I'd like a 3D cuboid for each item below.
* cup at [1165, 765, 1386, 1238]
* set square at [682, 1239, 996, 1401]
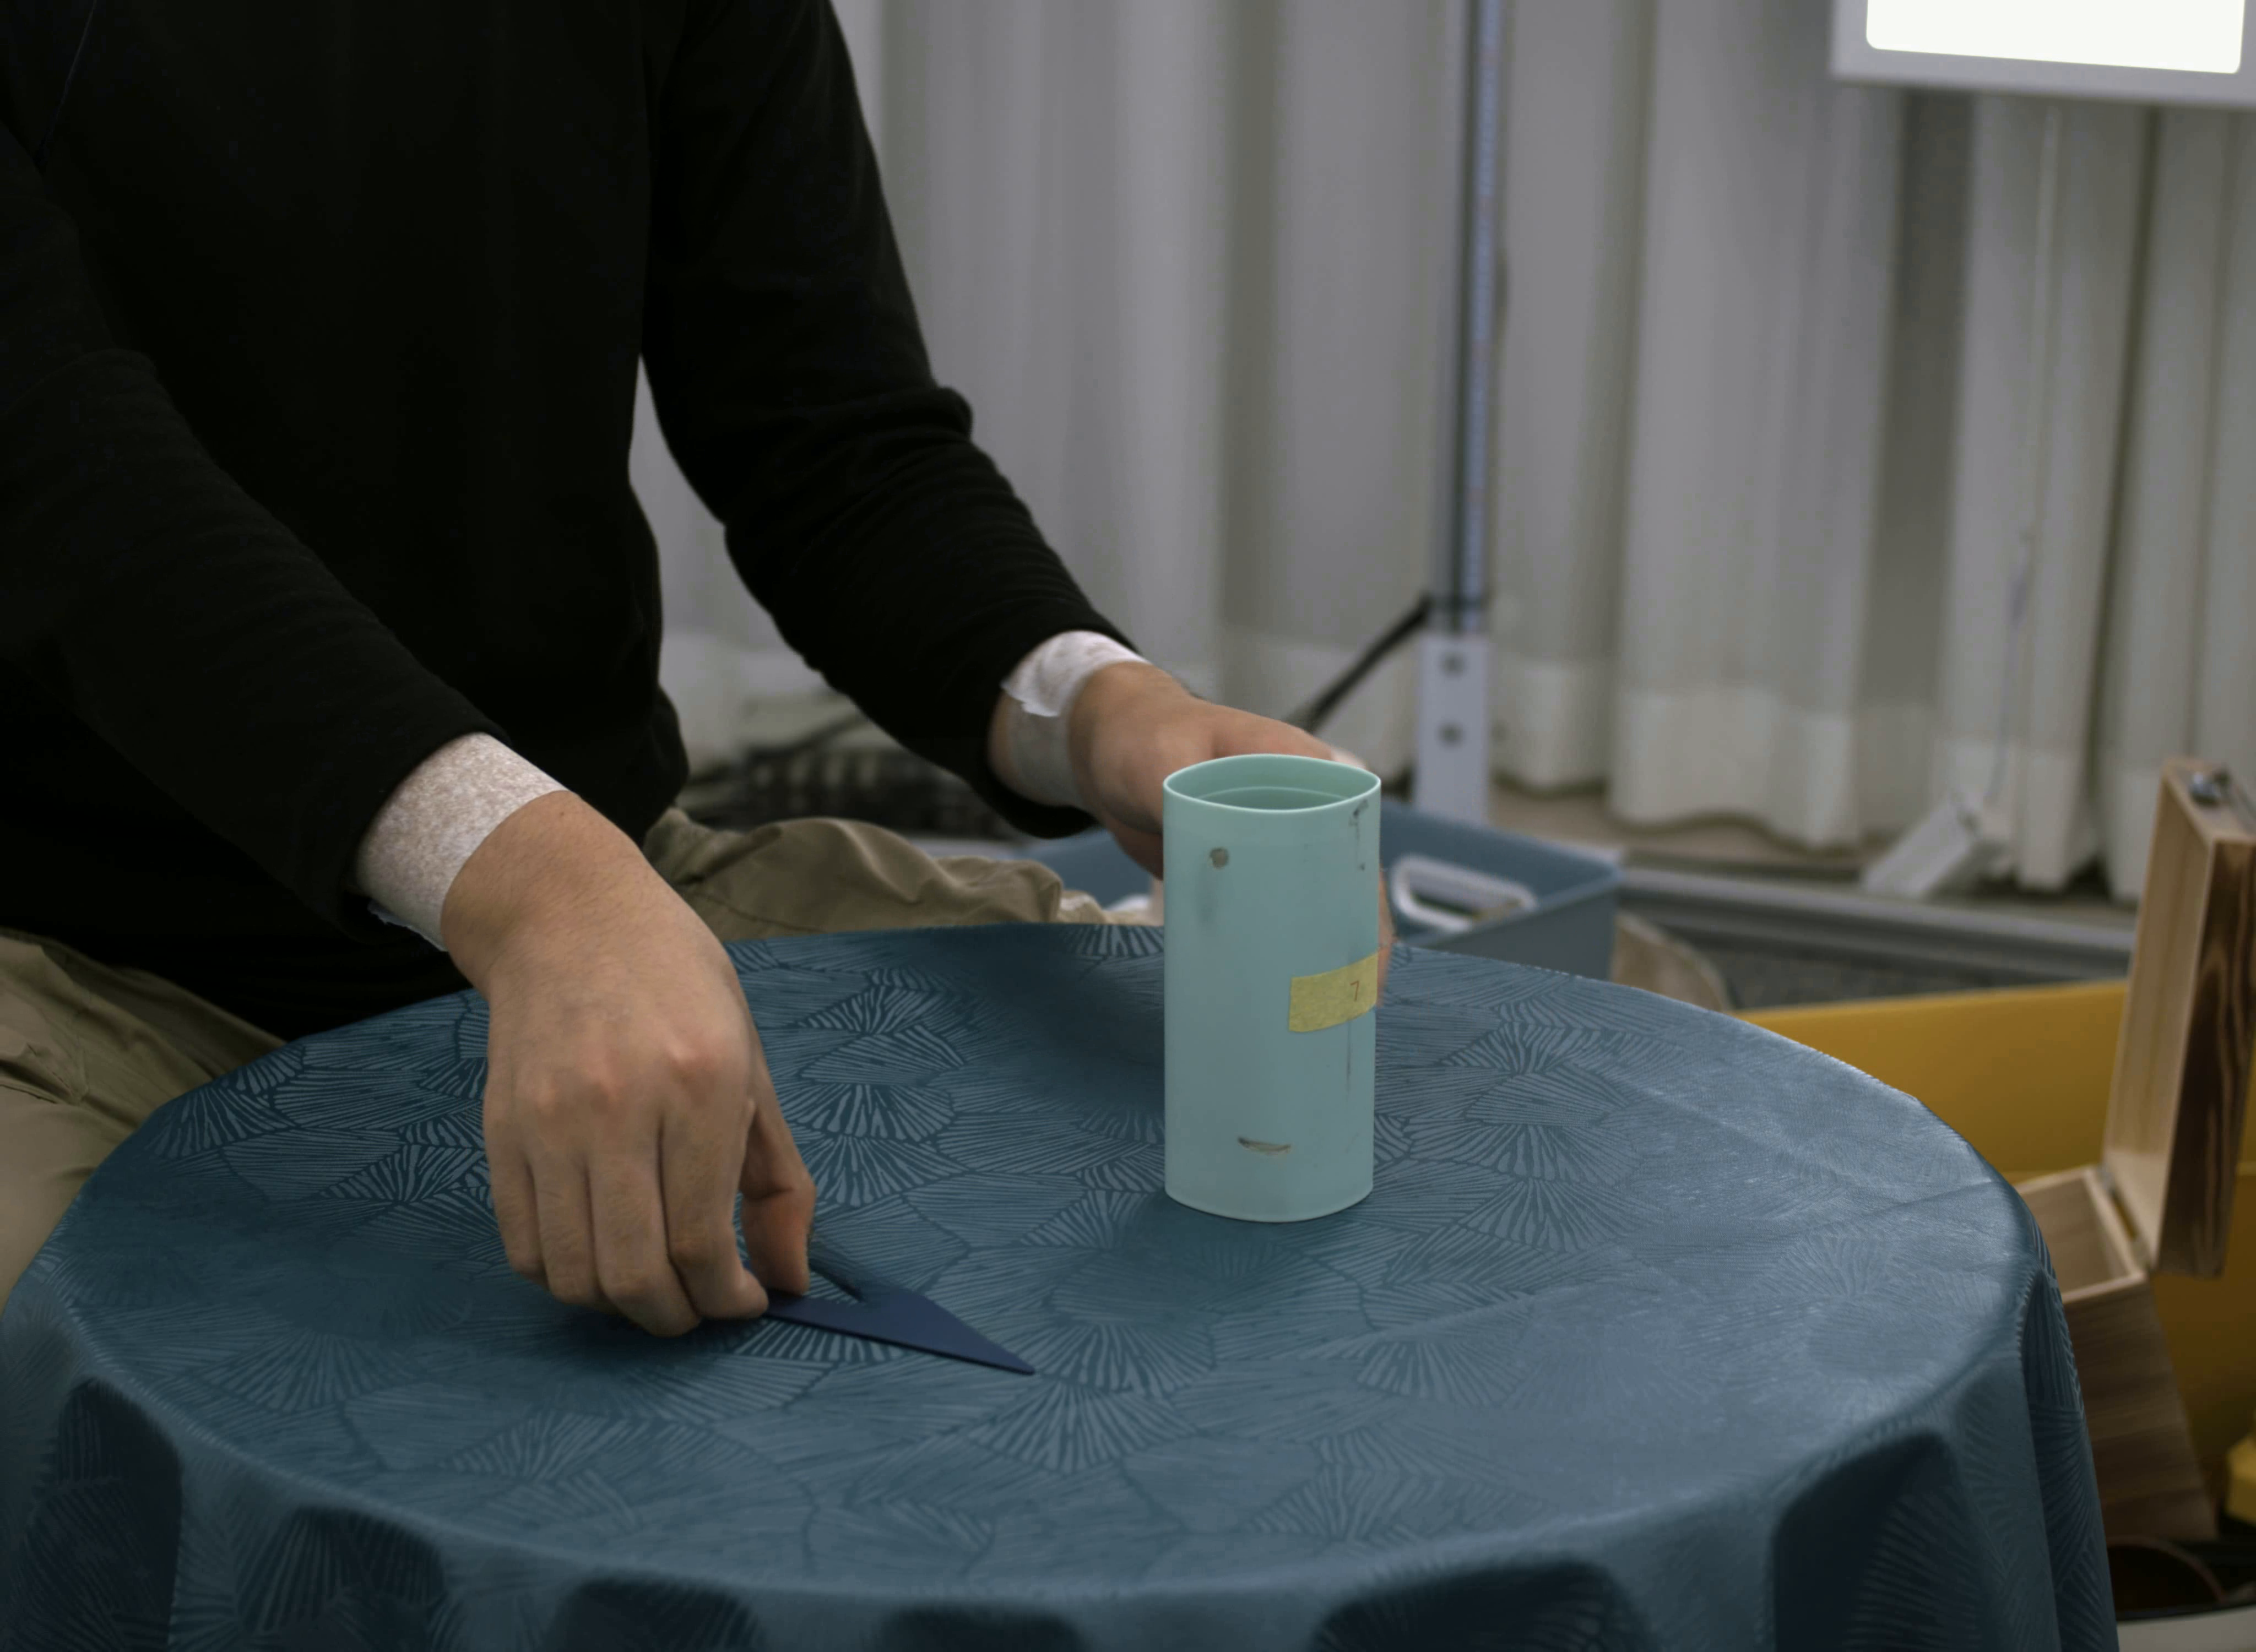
[{"bbox_3d":[0.043,0.052,1.607,0.066,0.133,0.066,1,17,0],"label":"cup"},{"bbox_3d":[-0.086,0.142,1.501,0.061,0.006,0.130,-6,18,-25],"label":"set square"}]
